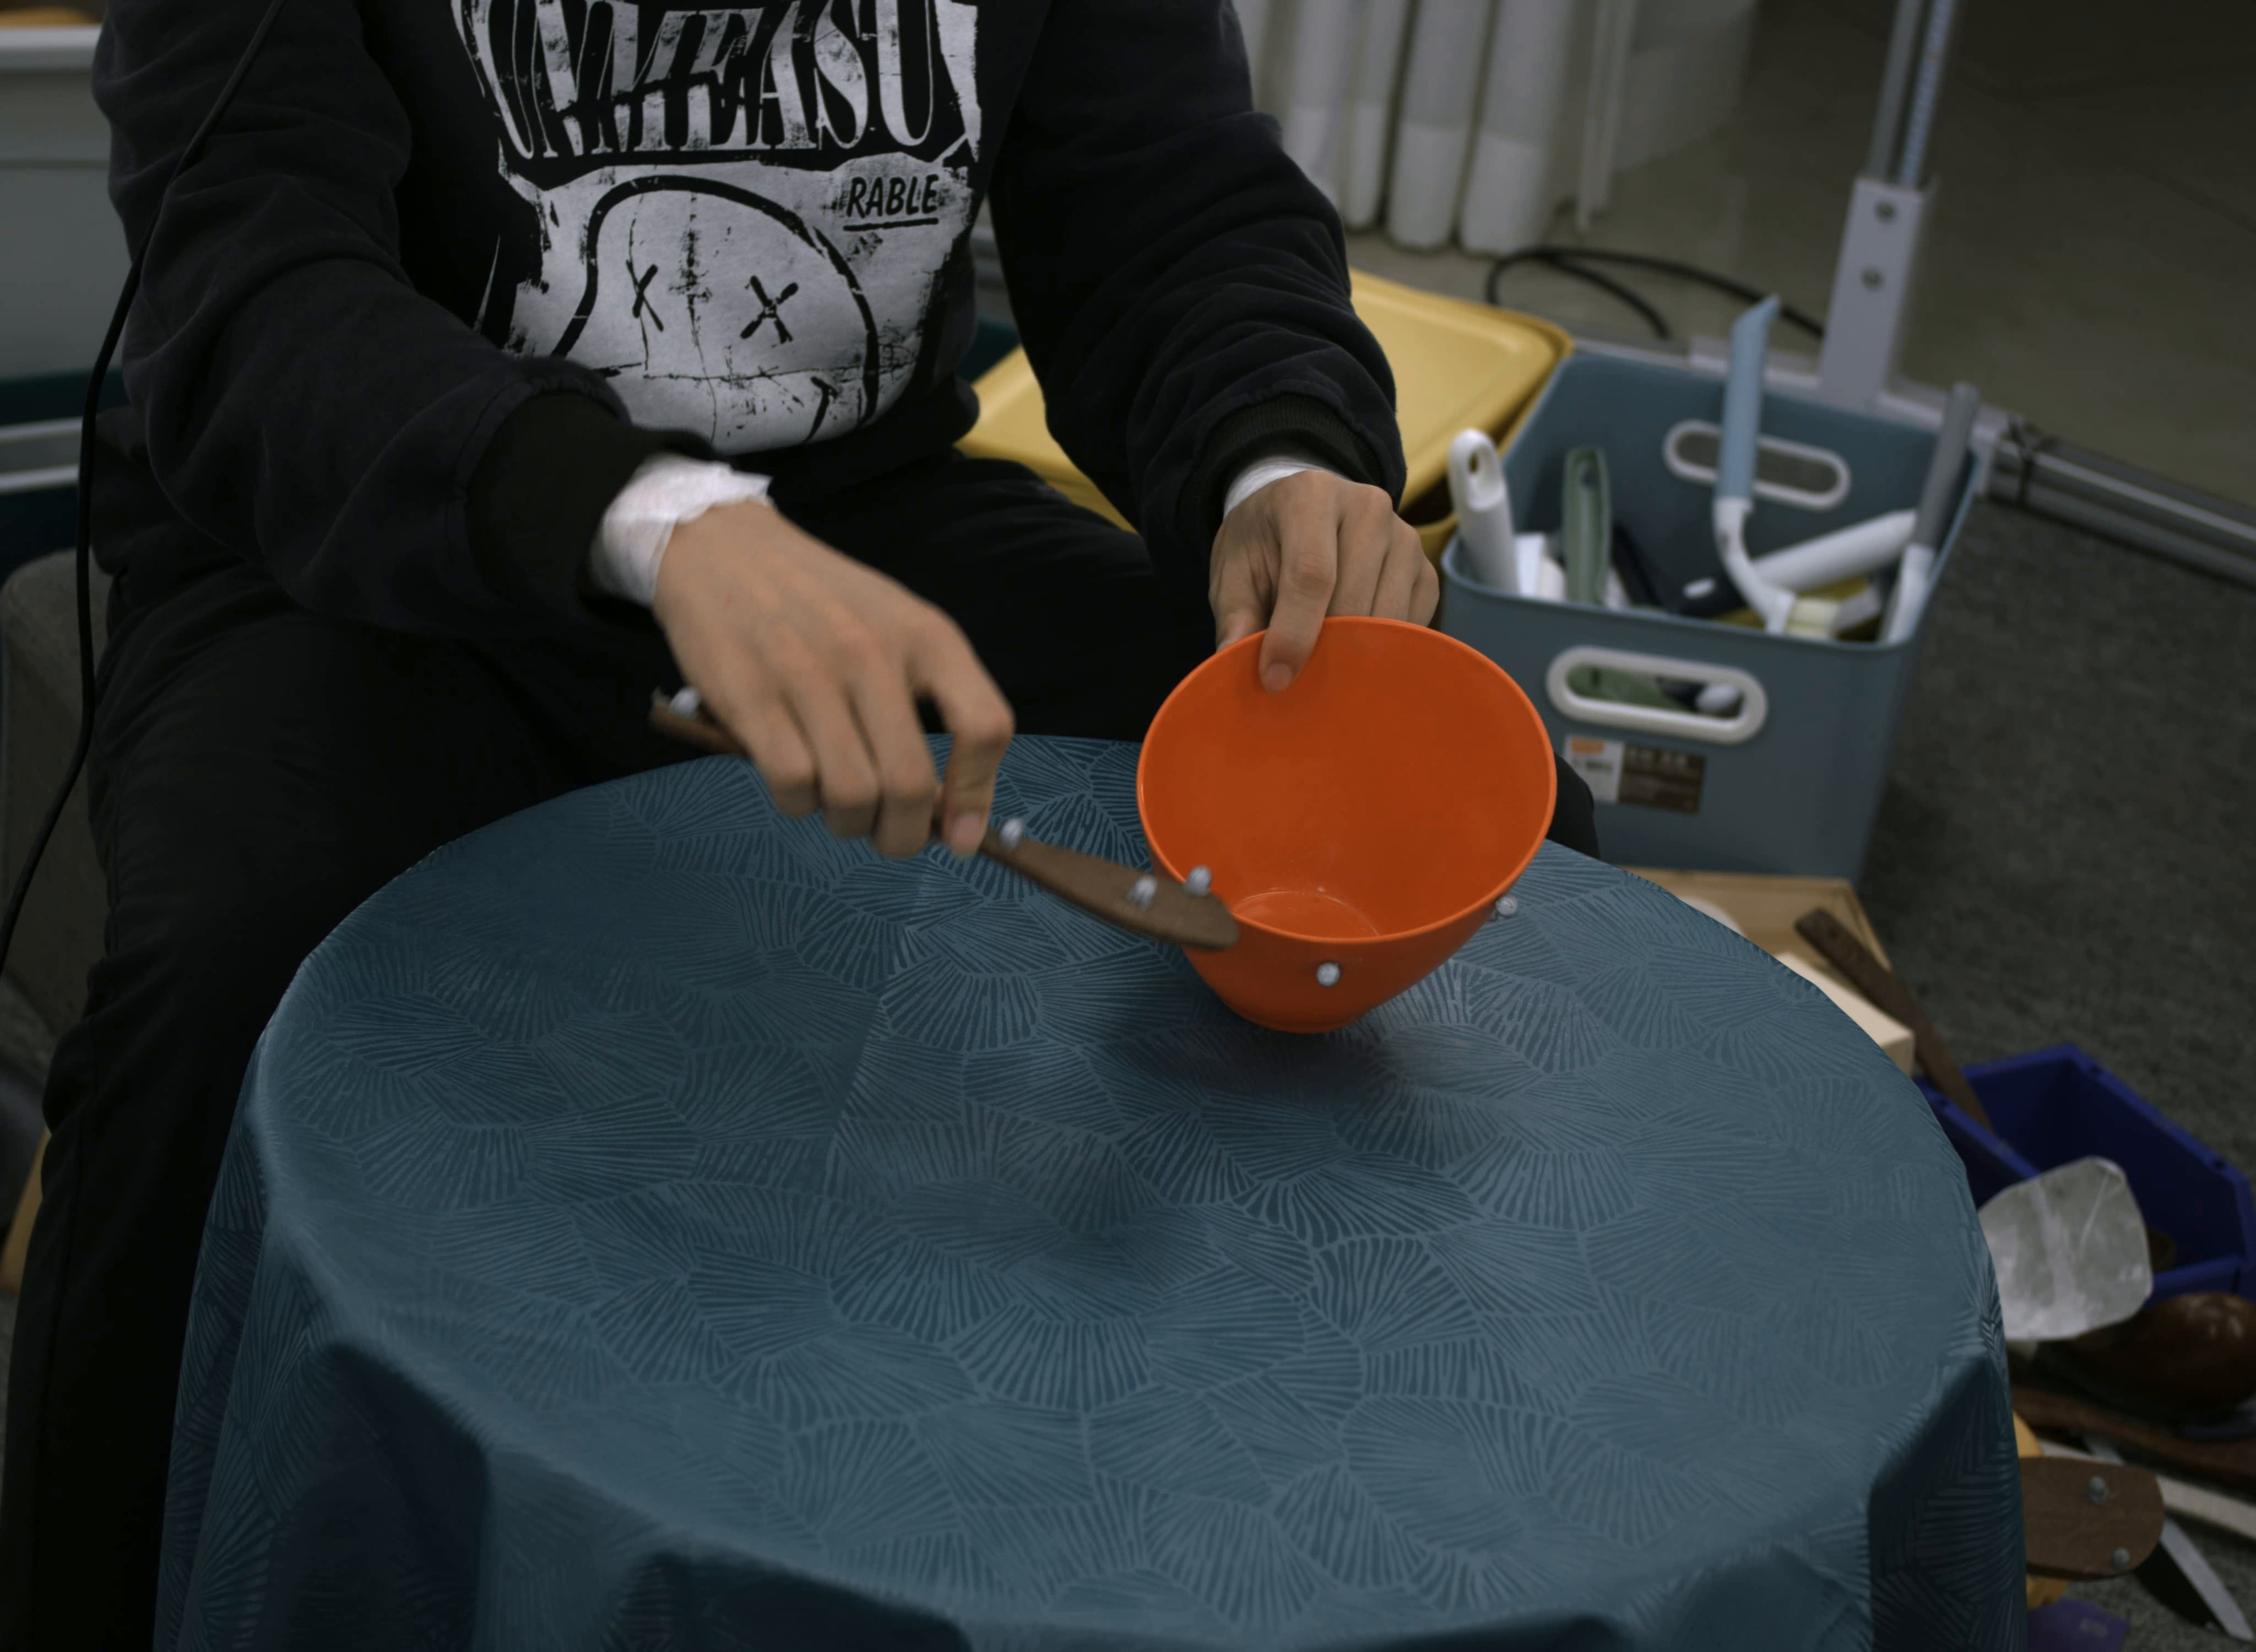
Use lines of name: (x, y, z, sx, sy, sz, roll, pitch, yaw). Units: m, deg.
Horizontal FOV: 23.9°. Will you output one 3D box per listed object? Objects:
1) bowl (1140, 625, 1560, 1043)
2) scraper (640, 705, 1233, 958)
bowl: (0.074, 0.014, 1.904, 0.147, 0.104, 0.149, 4, 44, -4)
scraper: (-0.064, 0.001, 1.774, 0.210, 0.011, 0.076, 21, 12, -7)
